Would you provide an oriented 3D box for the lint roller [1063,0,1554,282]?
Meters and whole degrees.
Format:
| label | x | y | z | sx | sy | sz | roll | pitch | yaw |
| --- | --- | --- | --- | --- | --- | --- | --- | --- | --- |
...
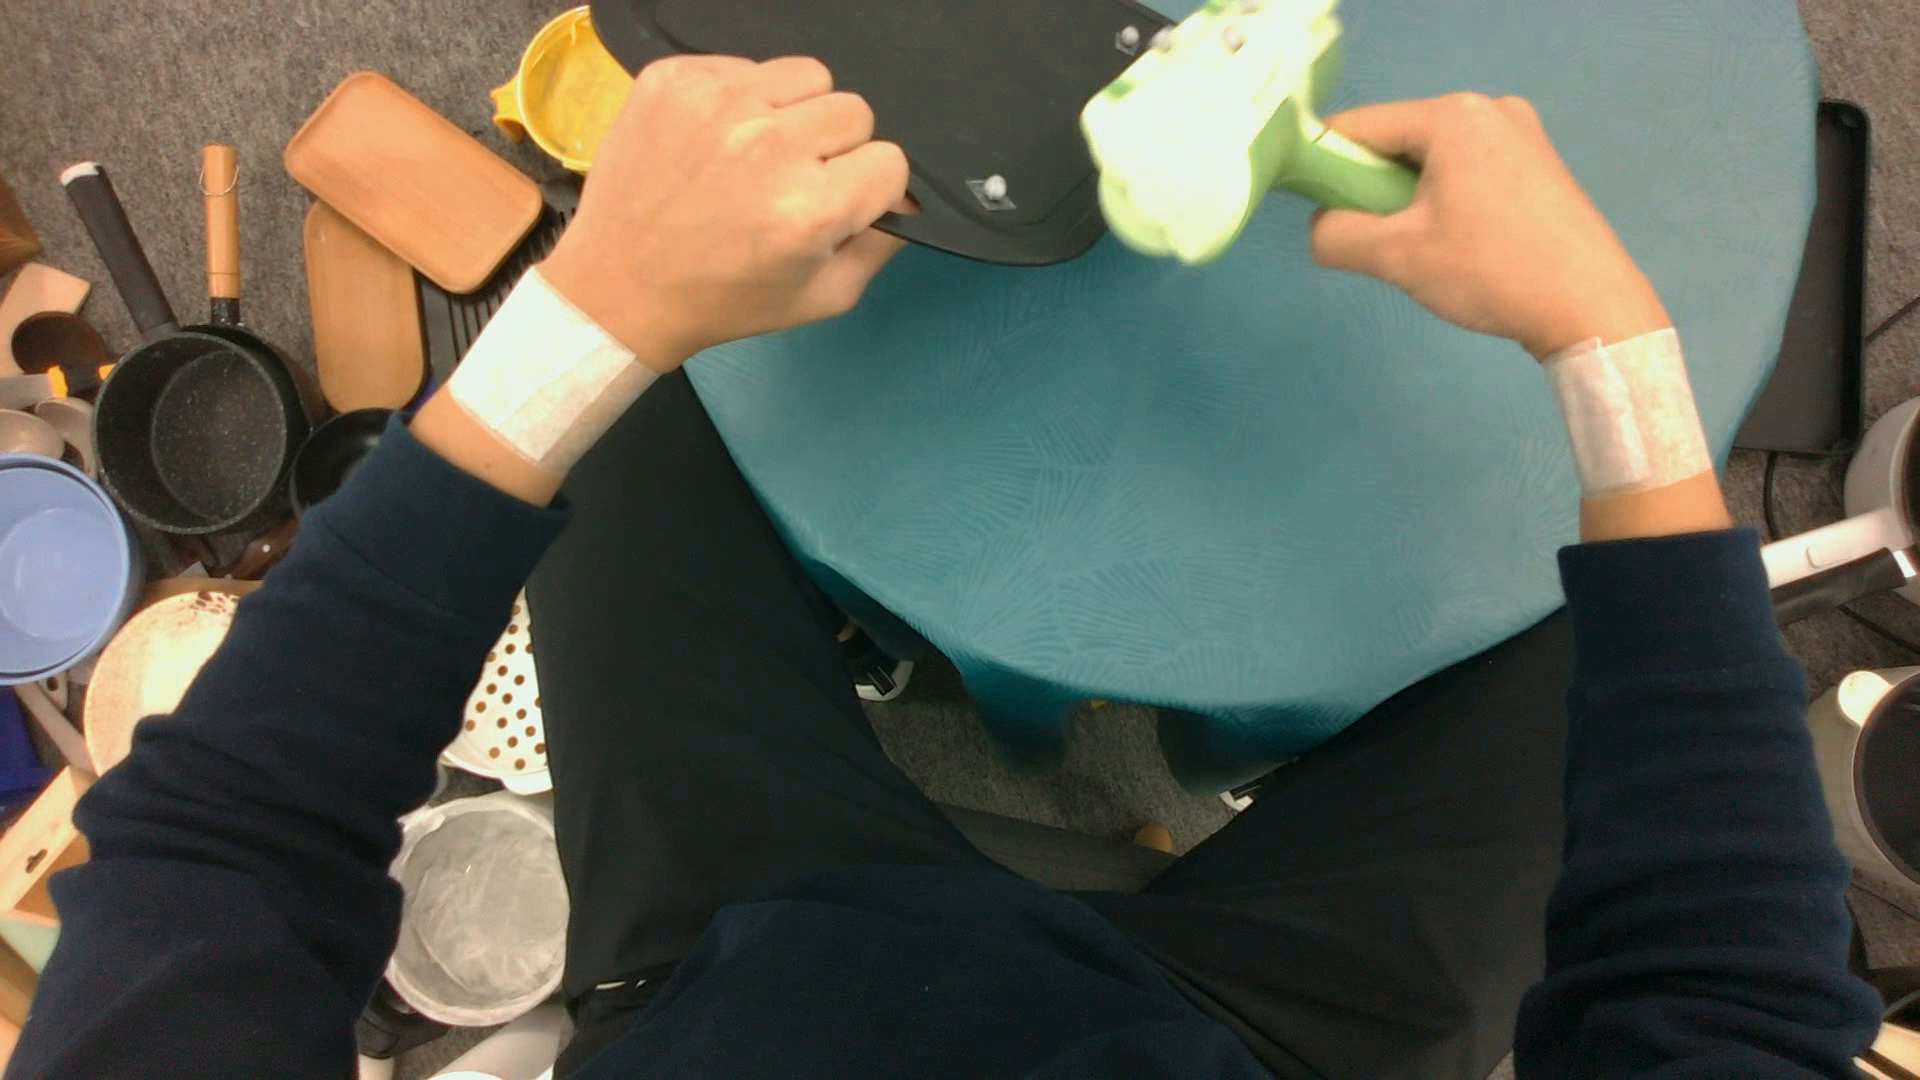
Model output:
| label | x | y | z | sx | sy | sz | roll | pitch | yaw |
| --- | --- | --- | --- | --- | --- | --- | --- | --- | --- |
| lint roller | 0.149 | -0.161 | 0.530 | 0.183 | 0.199 | 0.082 | 19 | 127 | 10 |

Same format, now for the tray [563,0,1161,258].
| label | x | y | z | sx | sy | sz | roll | pitch | yaw |
| --- | --- | --- | --- | --- | --- | --- | --- | --- | --- |
| tray | -0.014 | -0.212 | 0.590 | 0.211 | 0.327 | 0.010 | 29 | 129 | 6 |
